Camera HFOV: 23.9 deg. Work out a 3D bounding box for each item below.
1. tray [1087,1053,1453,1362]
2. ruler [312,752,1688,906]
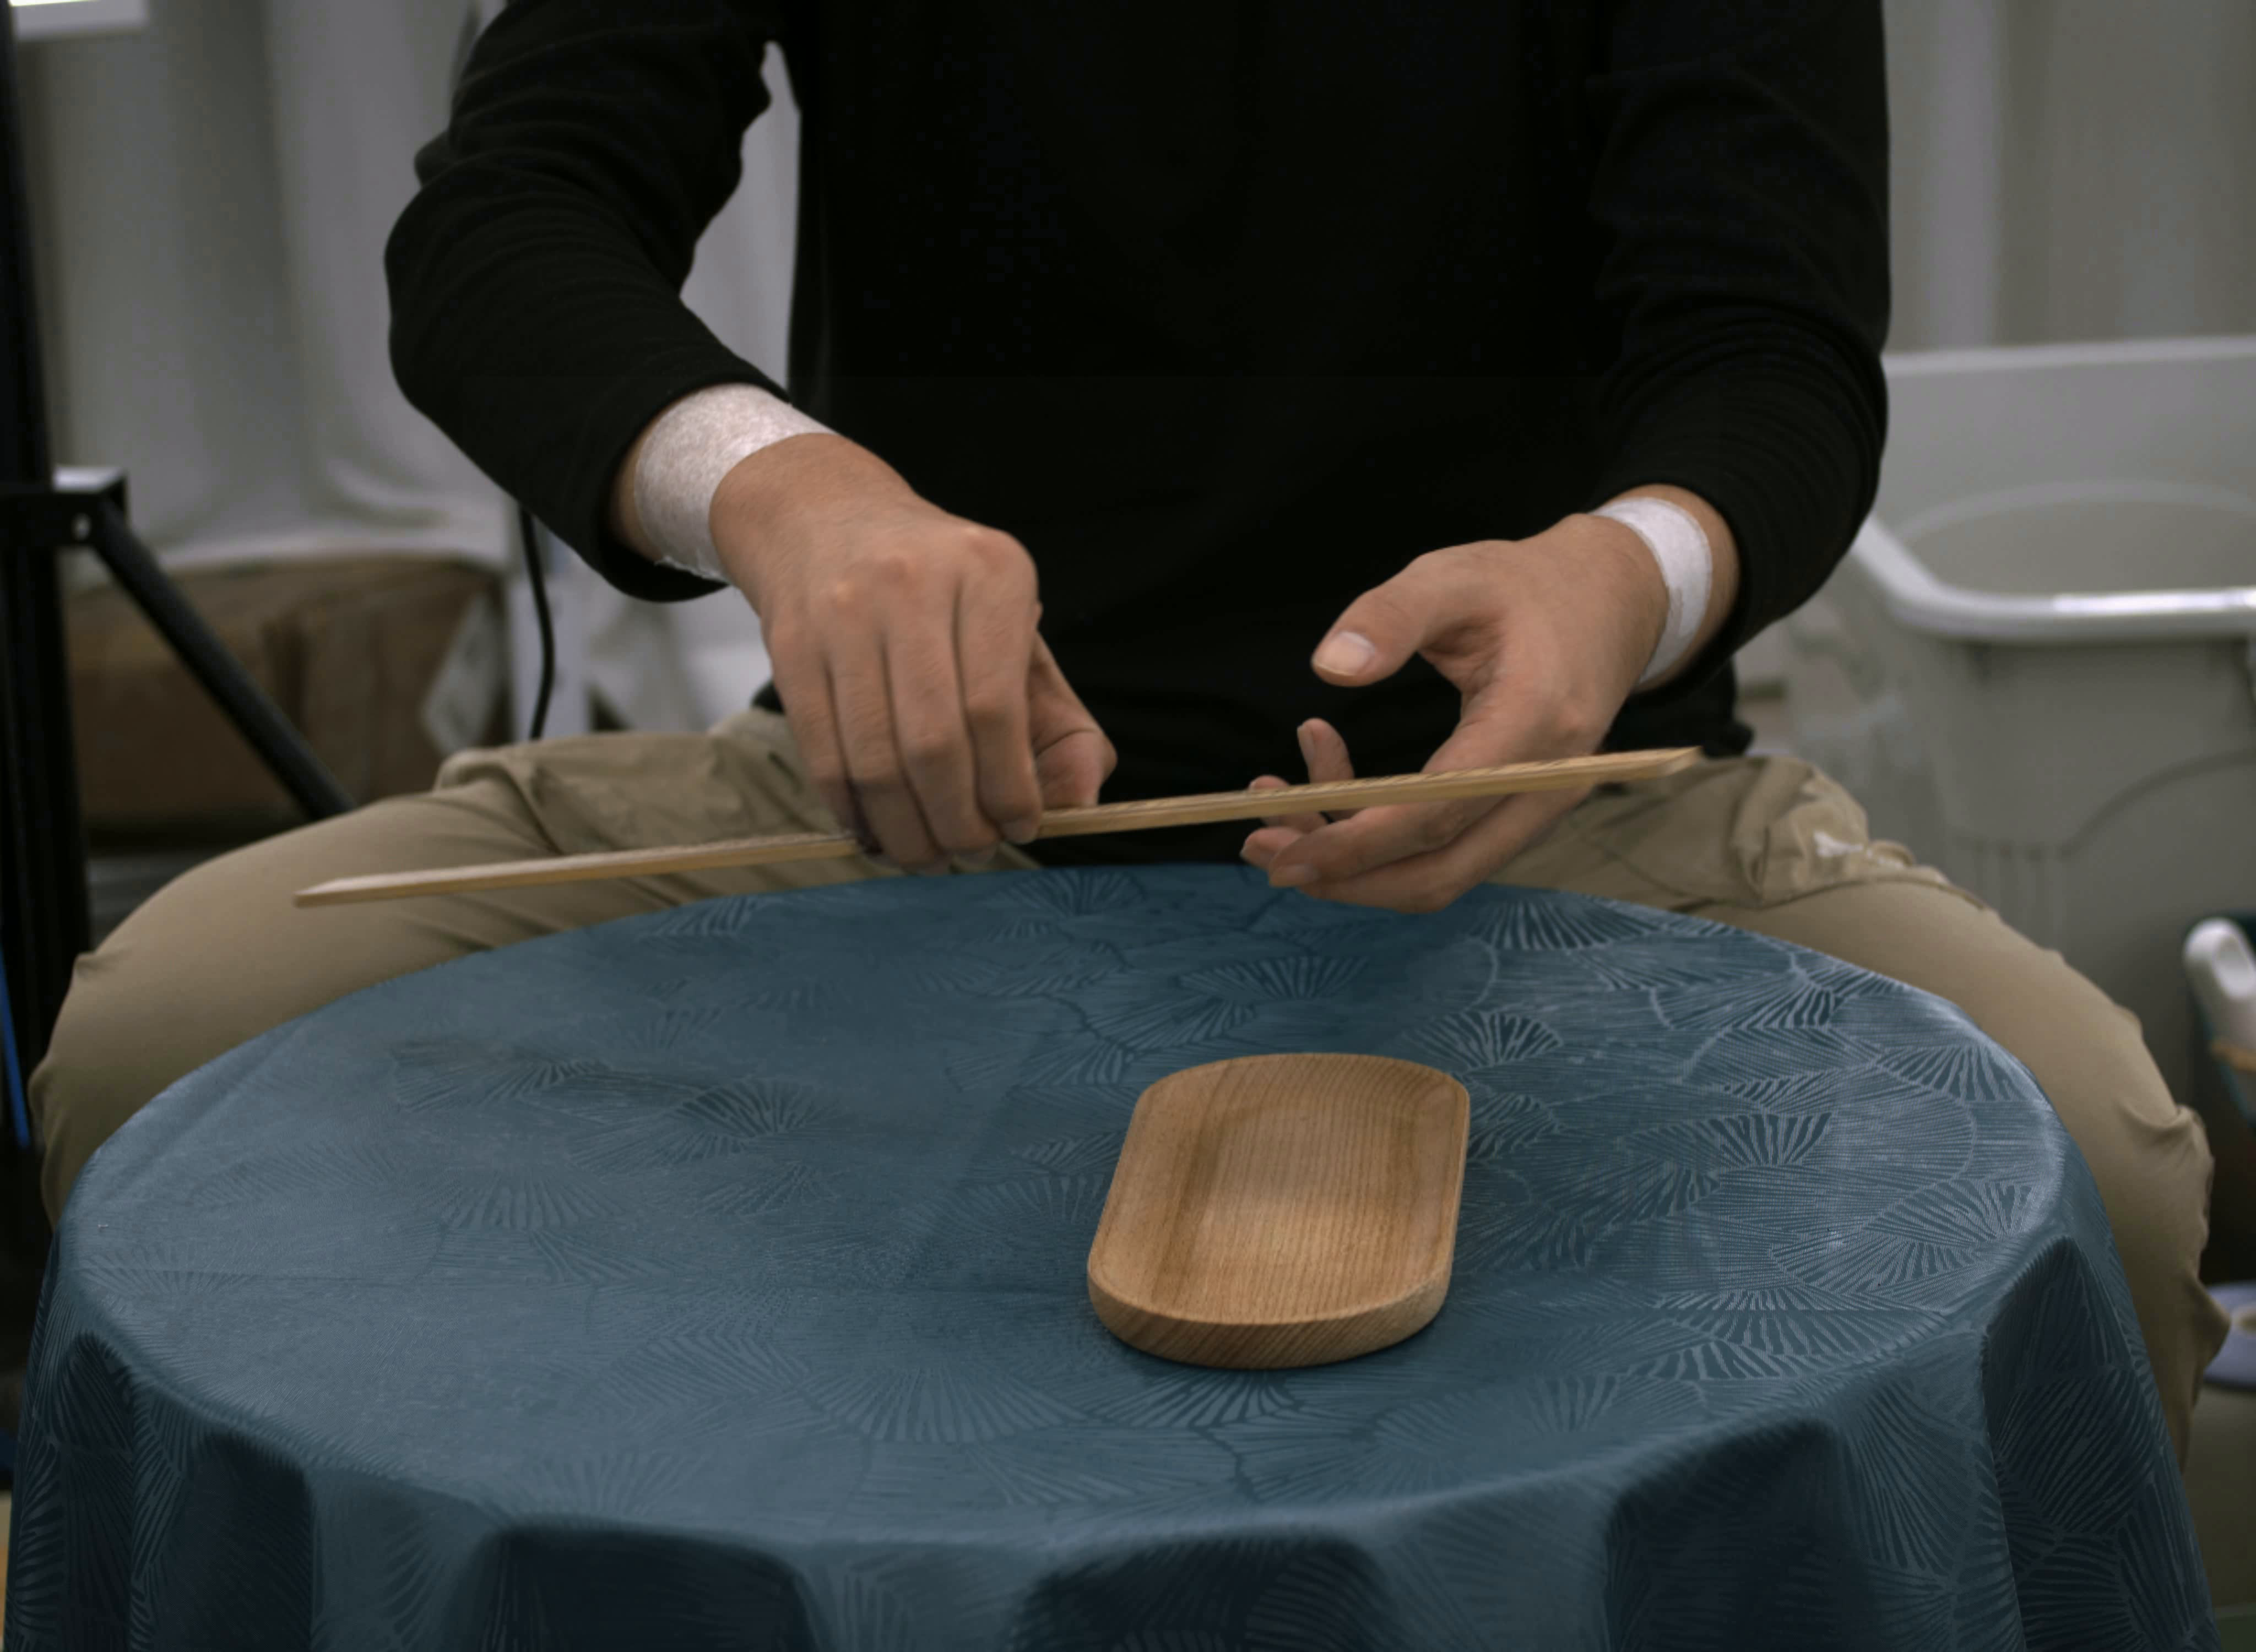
[{"bbox_3d":[0.043,0.107,1.524,0.101,0.020,0.231,1,14,4],"label":"tray"},{"bbox_3d":[-0.055,0.003,1.562,0.510,0.006,0.026,-5,5,38],"label":"ruler"}]
